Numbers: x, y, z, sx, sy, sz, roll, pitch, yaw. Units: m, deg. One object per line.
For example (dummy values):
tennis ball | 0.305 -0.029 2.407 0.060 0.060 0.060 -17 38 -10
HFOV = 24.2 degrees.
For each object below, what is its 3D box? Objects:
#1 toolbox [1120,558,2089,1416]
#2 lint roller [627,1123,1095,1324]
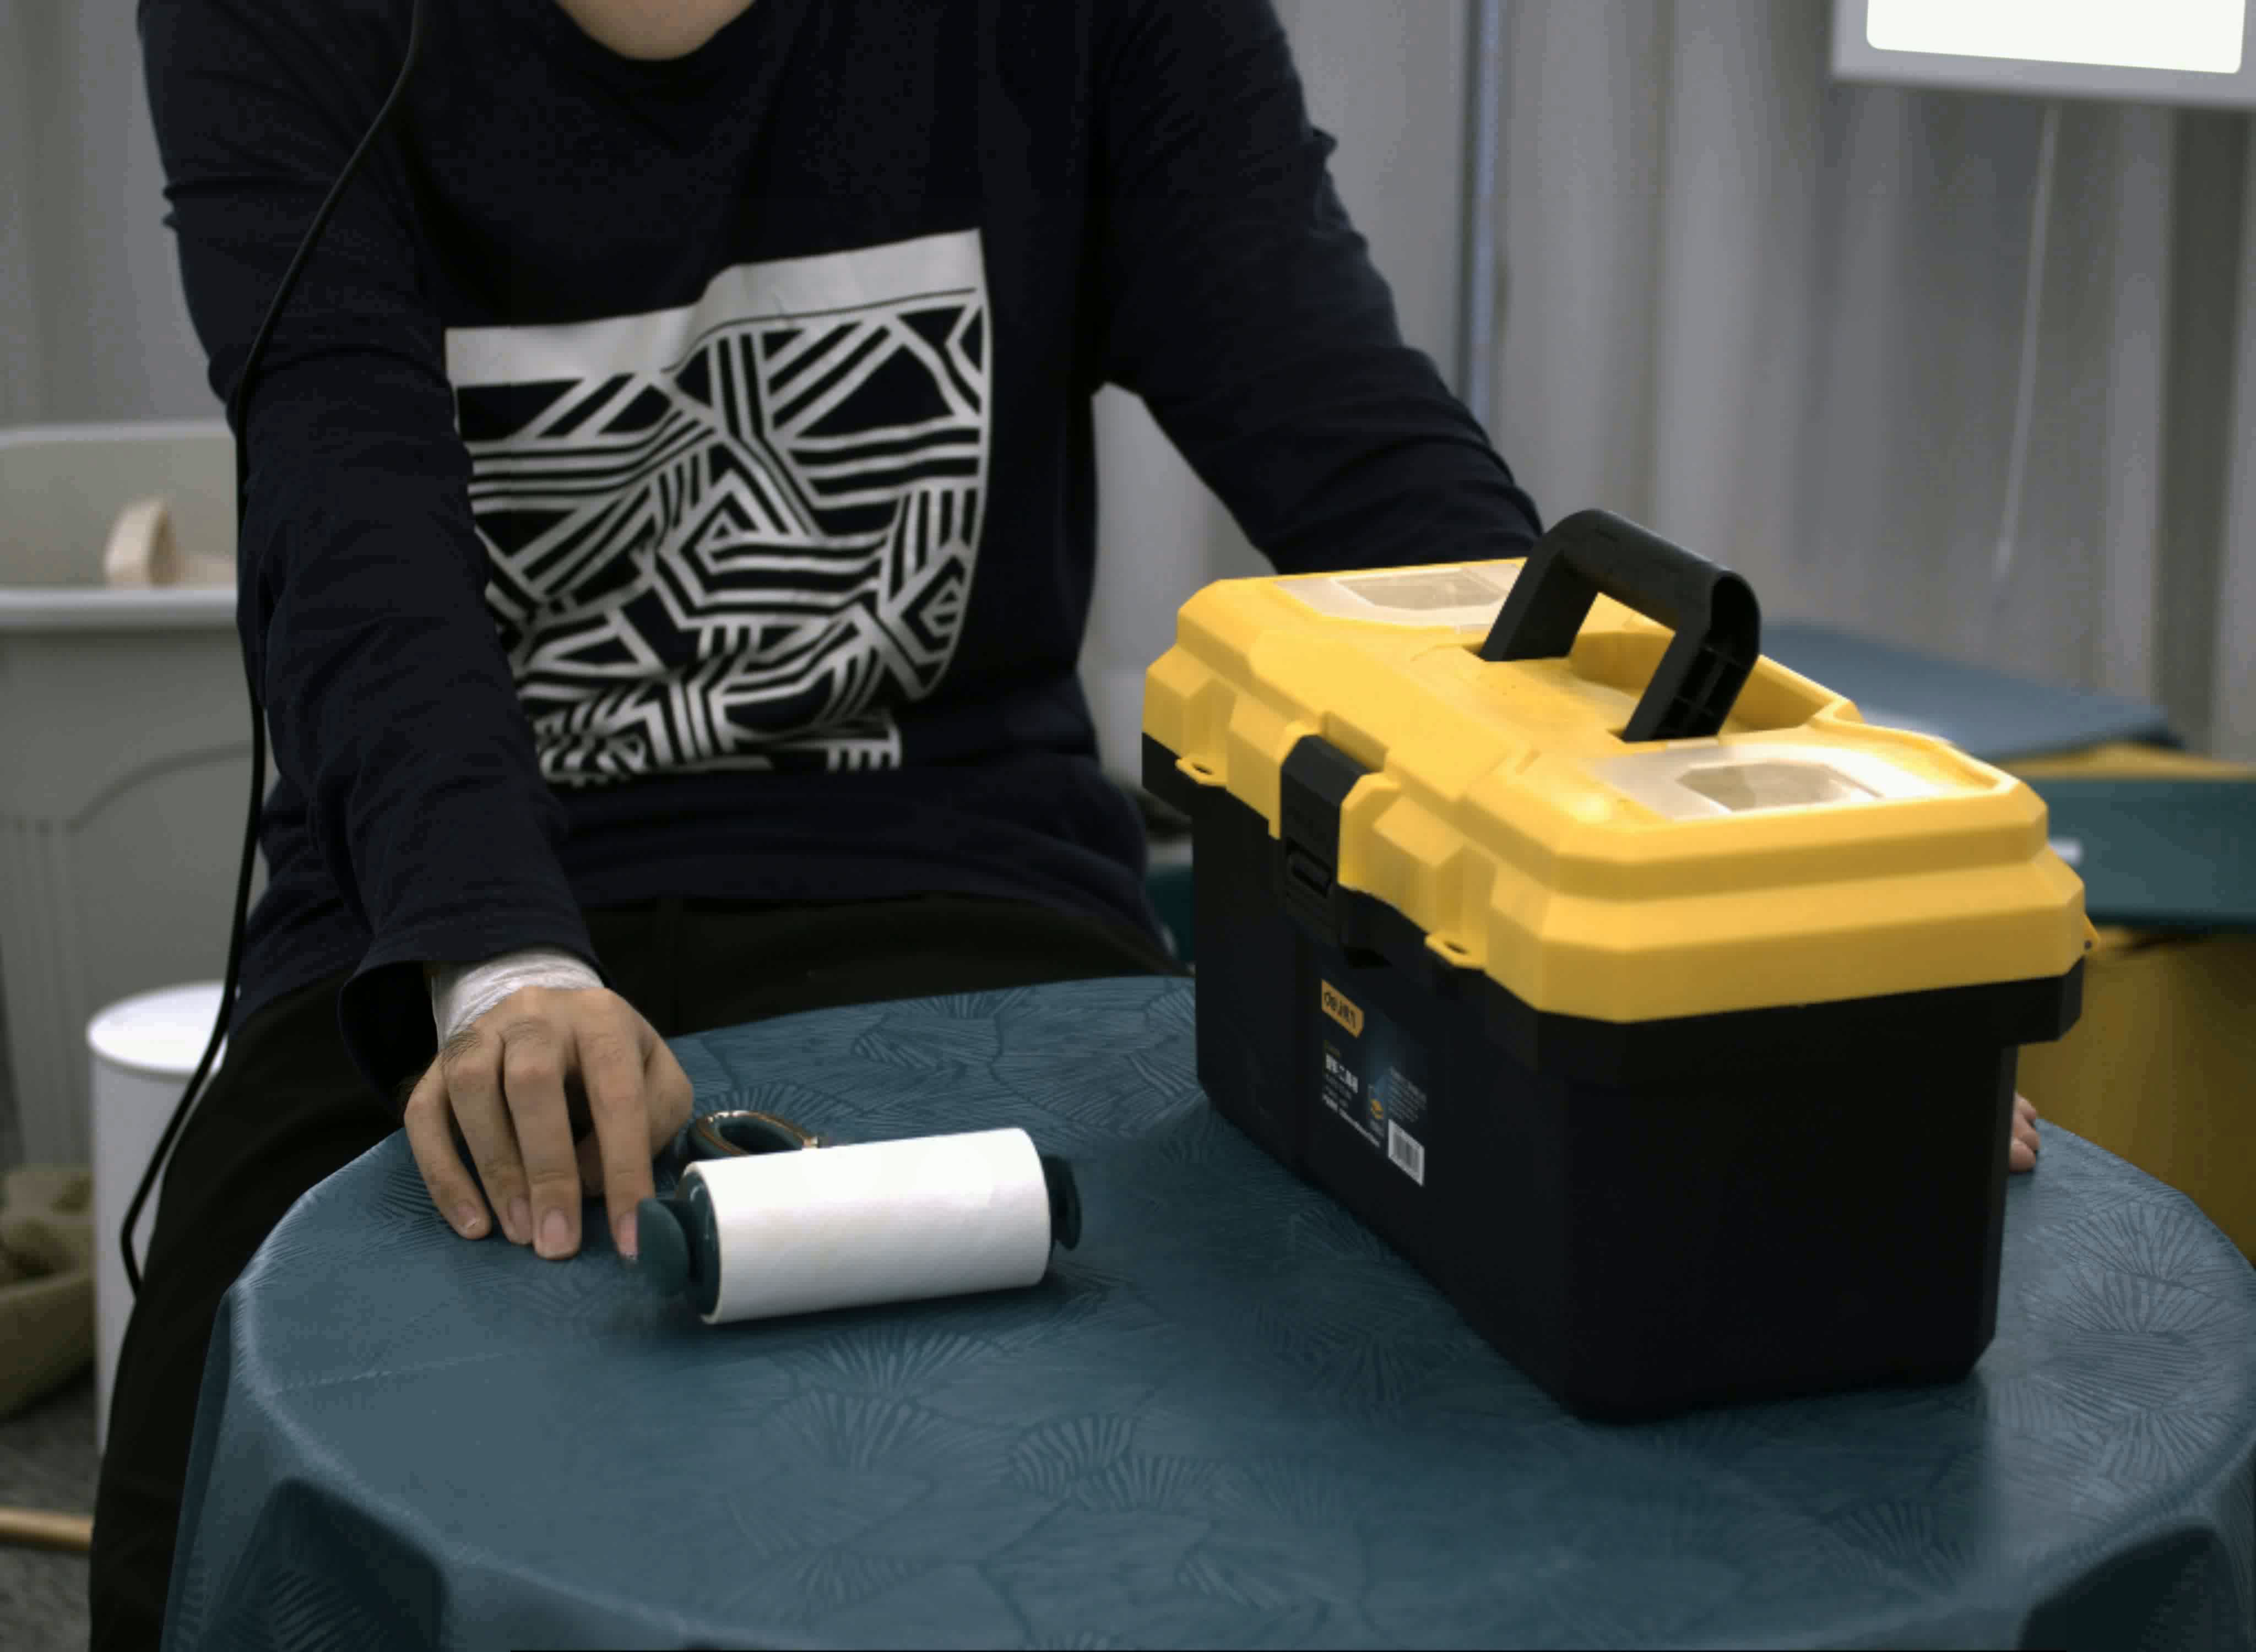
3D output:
toolbox | 0.131 0.038 1.571 0.182 0.174 0.347 -5 16 -19
lint roller | -0.100 0.103 1.583 0.134 0.048 0.178 -6 13 -19
